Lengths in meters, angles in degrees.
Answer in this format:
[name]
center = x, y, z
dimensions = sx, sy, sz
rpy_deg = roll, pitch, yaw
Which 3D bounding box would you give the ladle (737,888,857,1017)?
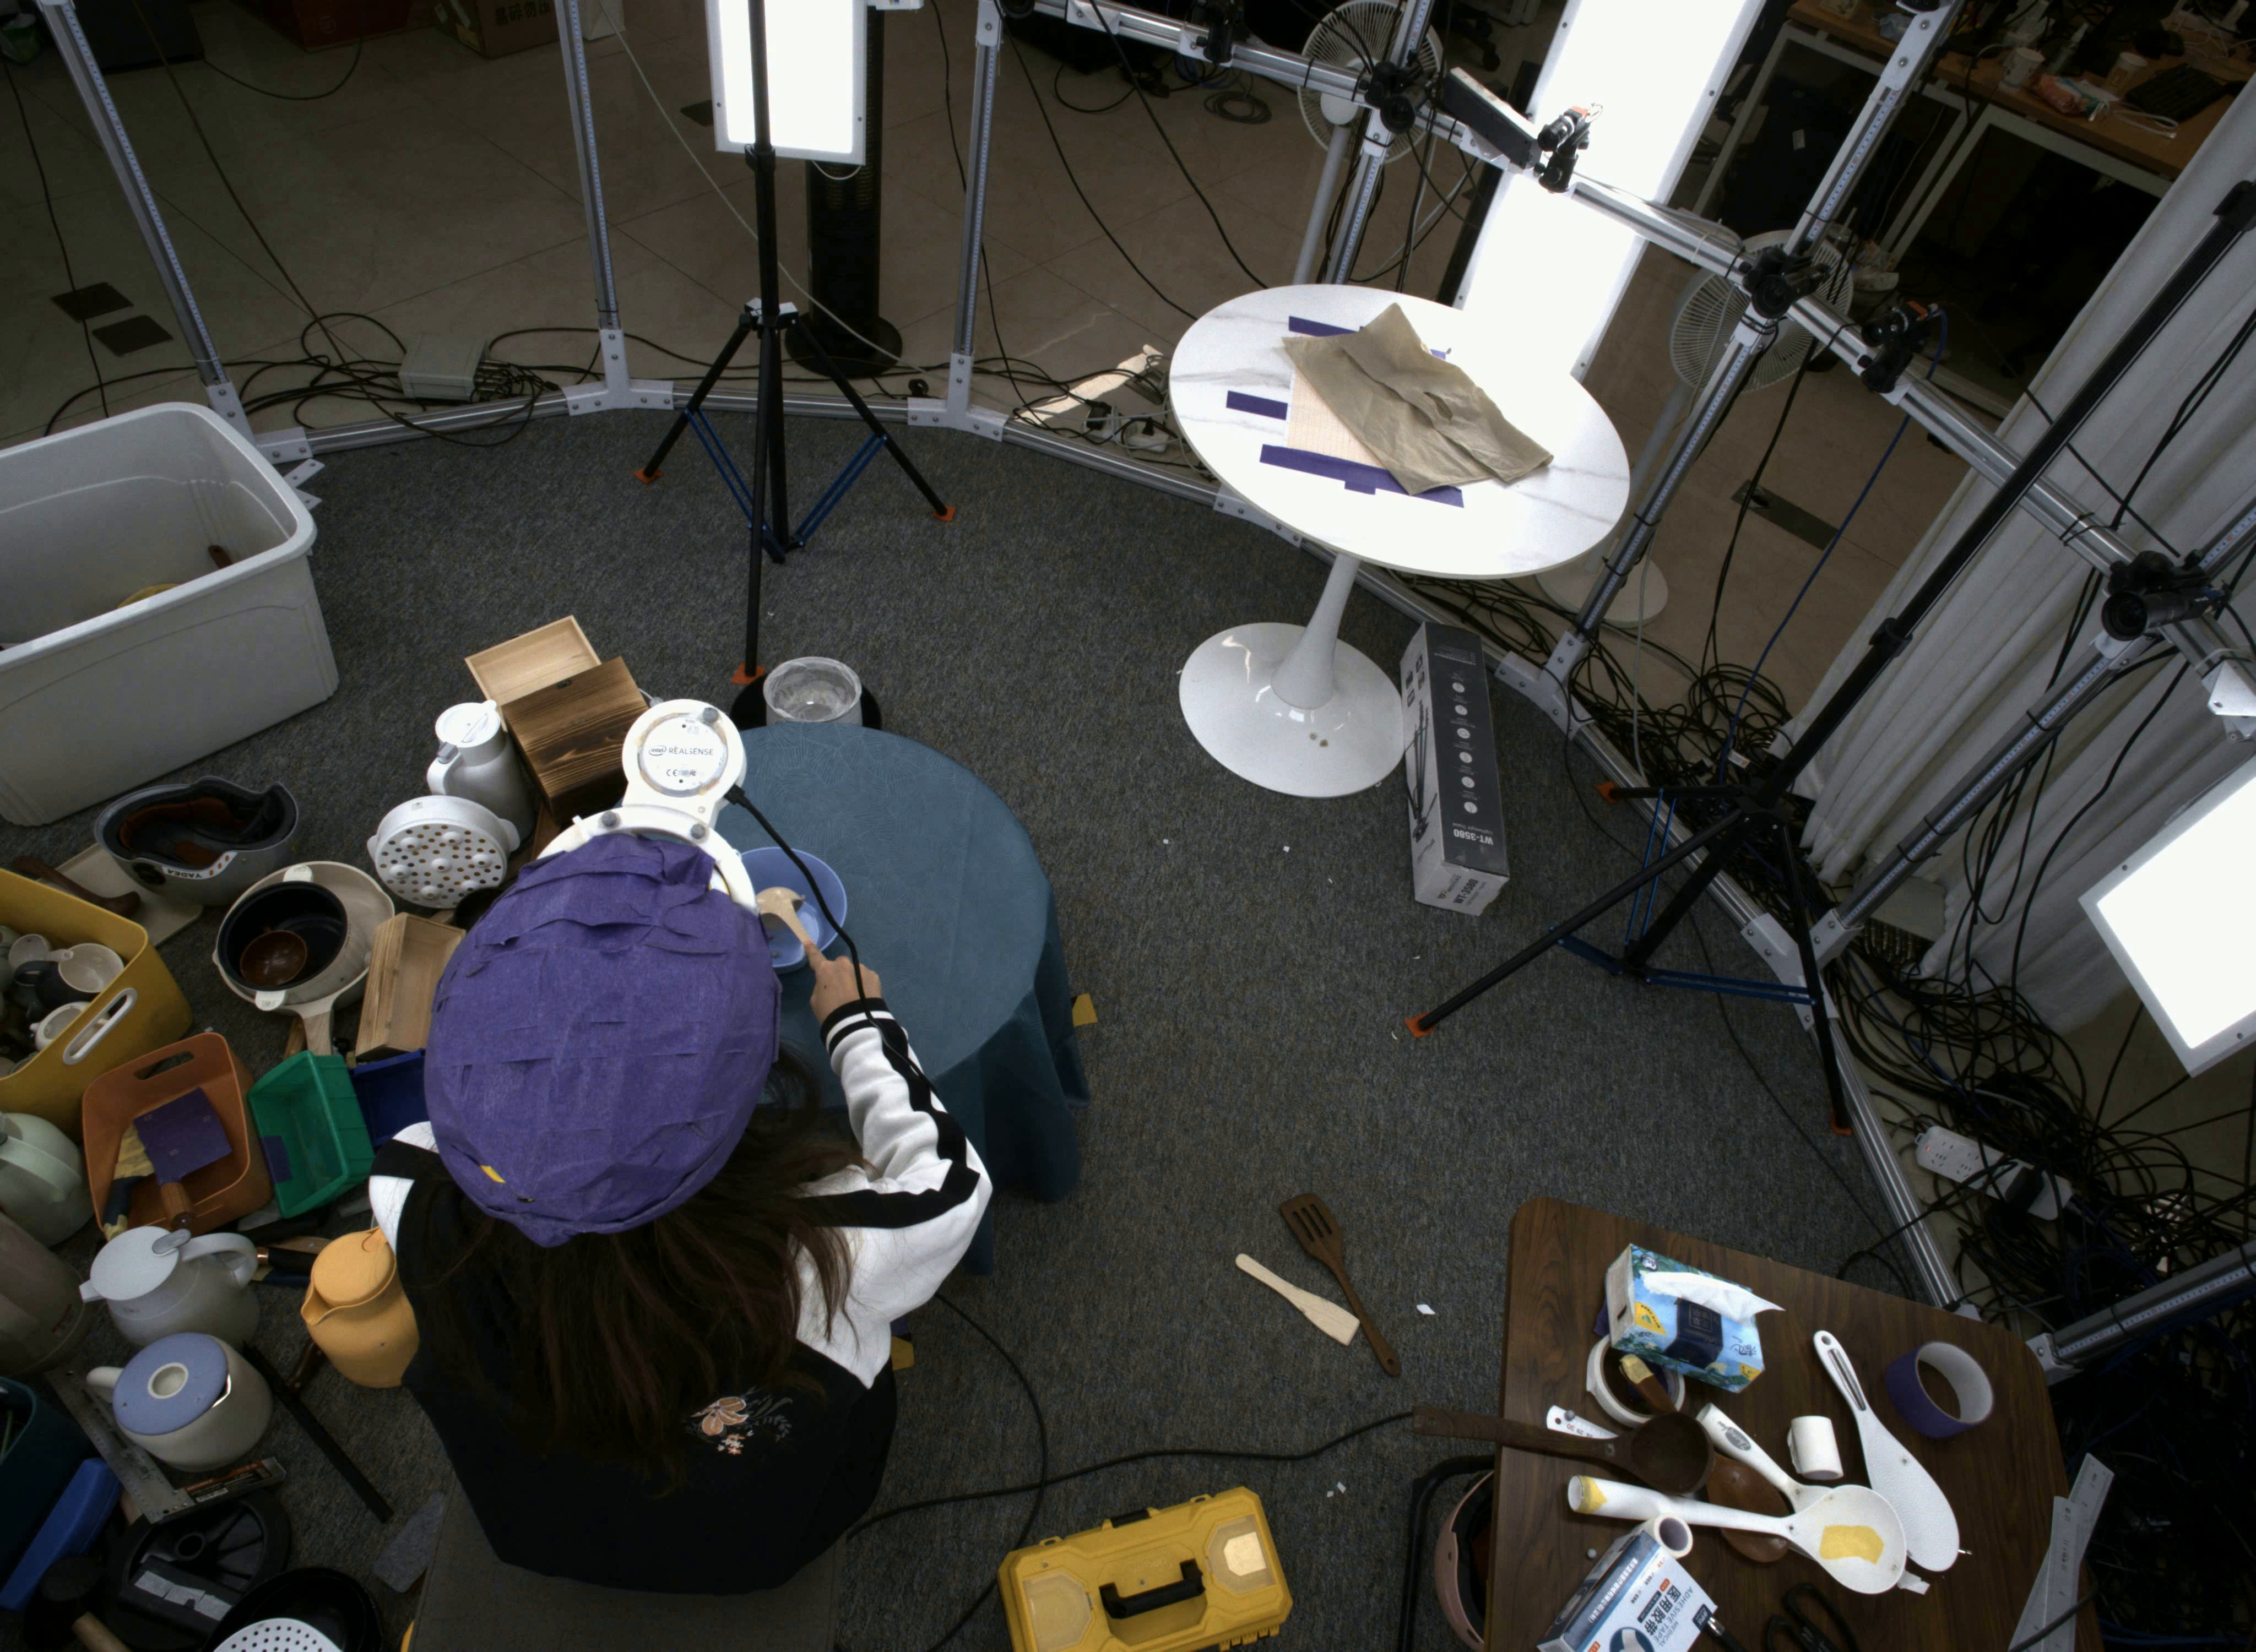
[ladle]
center = -0.382, 0.163, 1.525
dimensions = 0.072, 0.075, 0.246
rpy_deg = -25, 51, -30

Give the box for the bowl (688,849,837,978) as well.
[bowl]
center = -0.443, 0.117, 1.582
dimensions = 0.175, 0.072, 0.173
rpy_deg = 7, 52, -8
